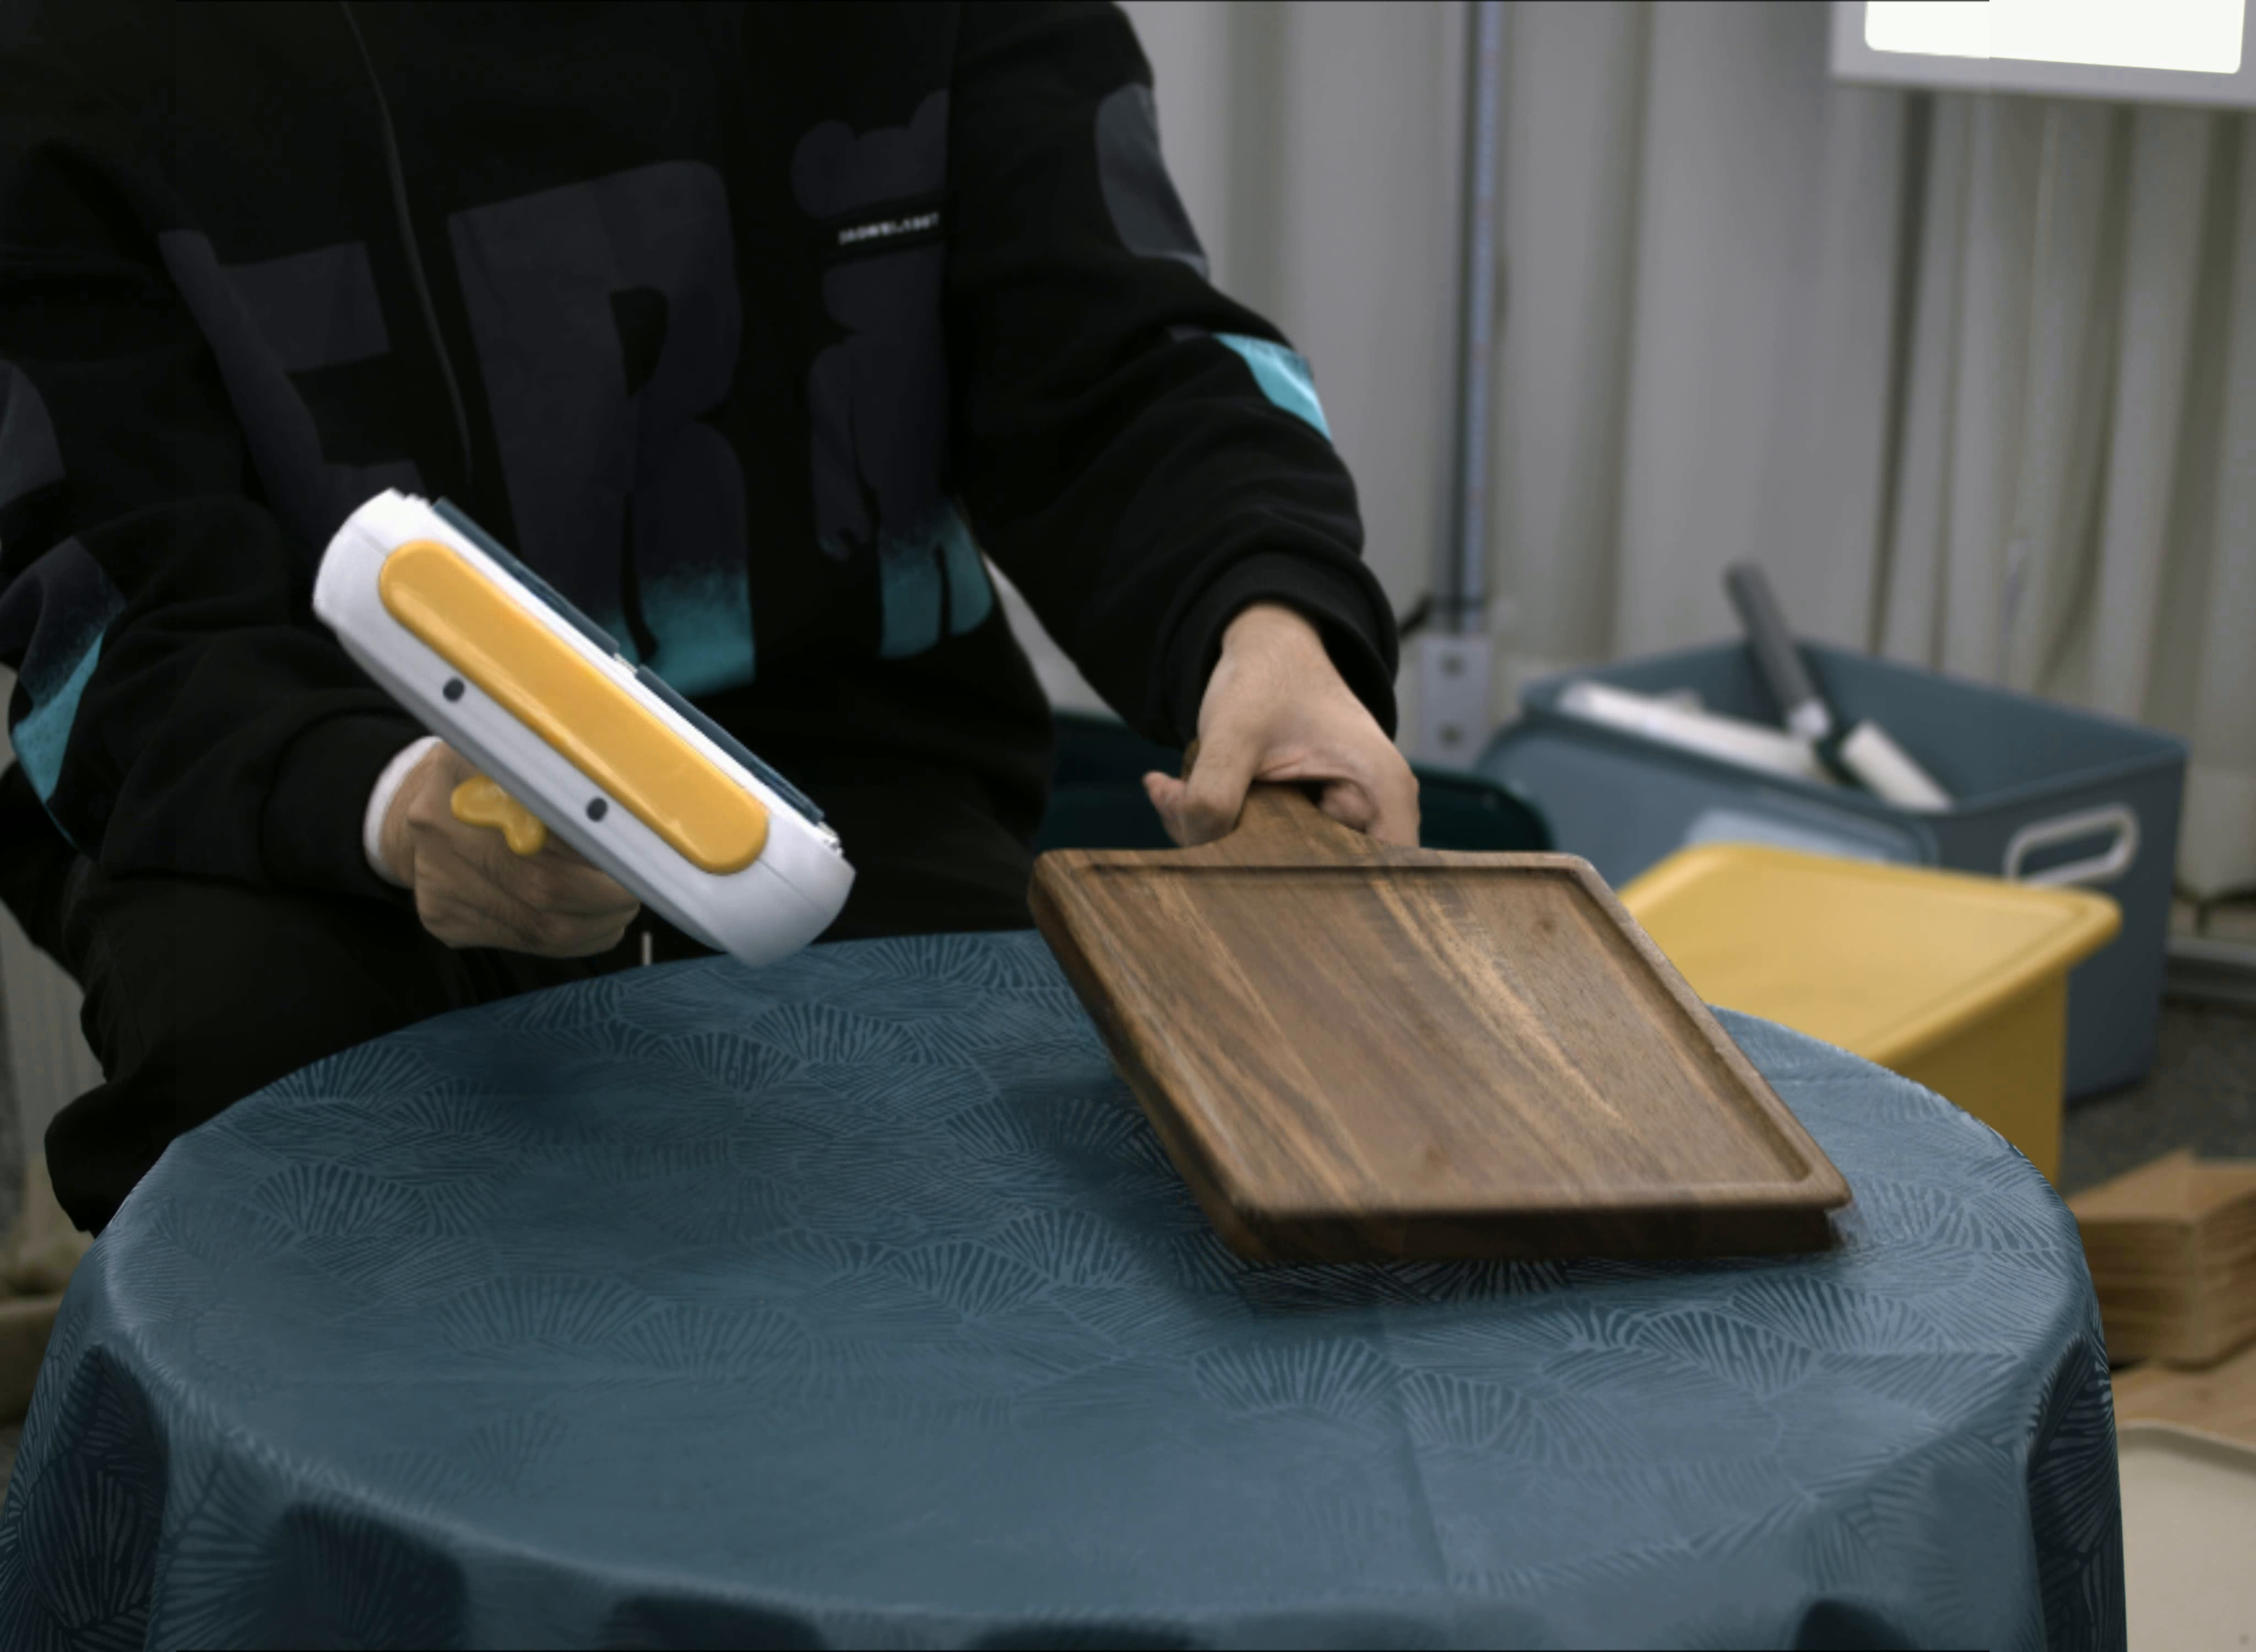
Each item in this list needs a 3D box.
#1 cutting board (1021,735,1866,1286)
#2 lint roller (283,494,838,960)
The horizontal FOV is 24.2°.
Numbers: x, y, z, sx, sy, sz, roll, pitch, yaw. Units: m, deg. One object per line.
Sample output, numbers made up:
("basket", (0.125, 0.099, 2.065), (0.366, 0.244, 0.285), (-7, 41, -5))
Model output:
("cutting board", (0.079, 0.050, 1.680), (0.201, 0.023, 0.348), (-1, 25, -17))
("lint roller", (-0.177, -0.010, 1.656), (0.192, 0.074, 0.193), (32, -14, 8))
